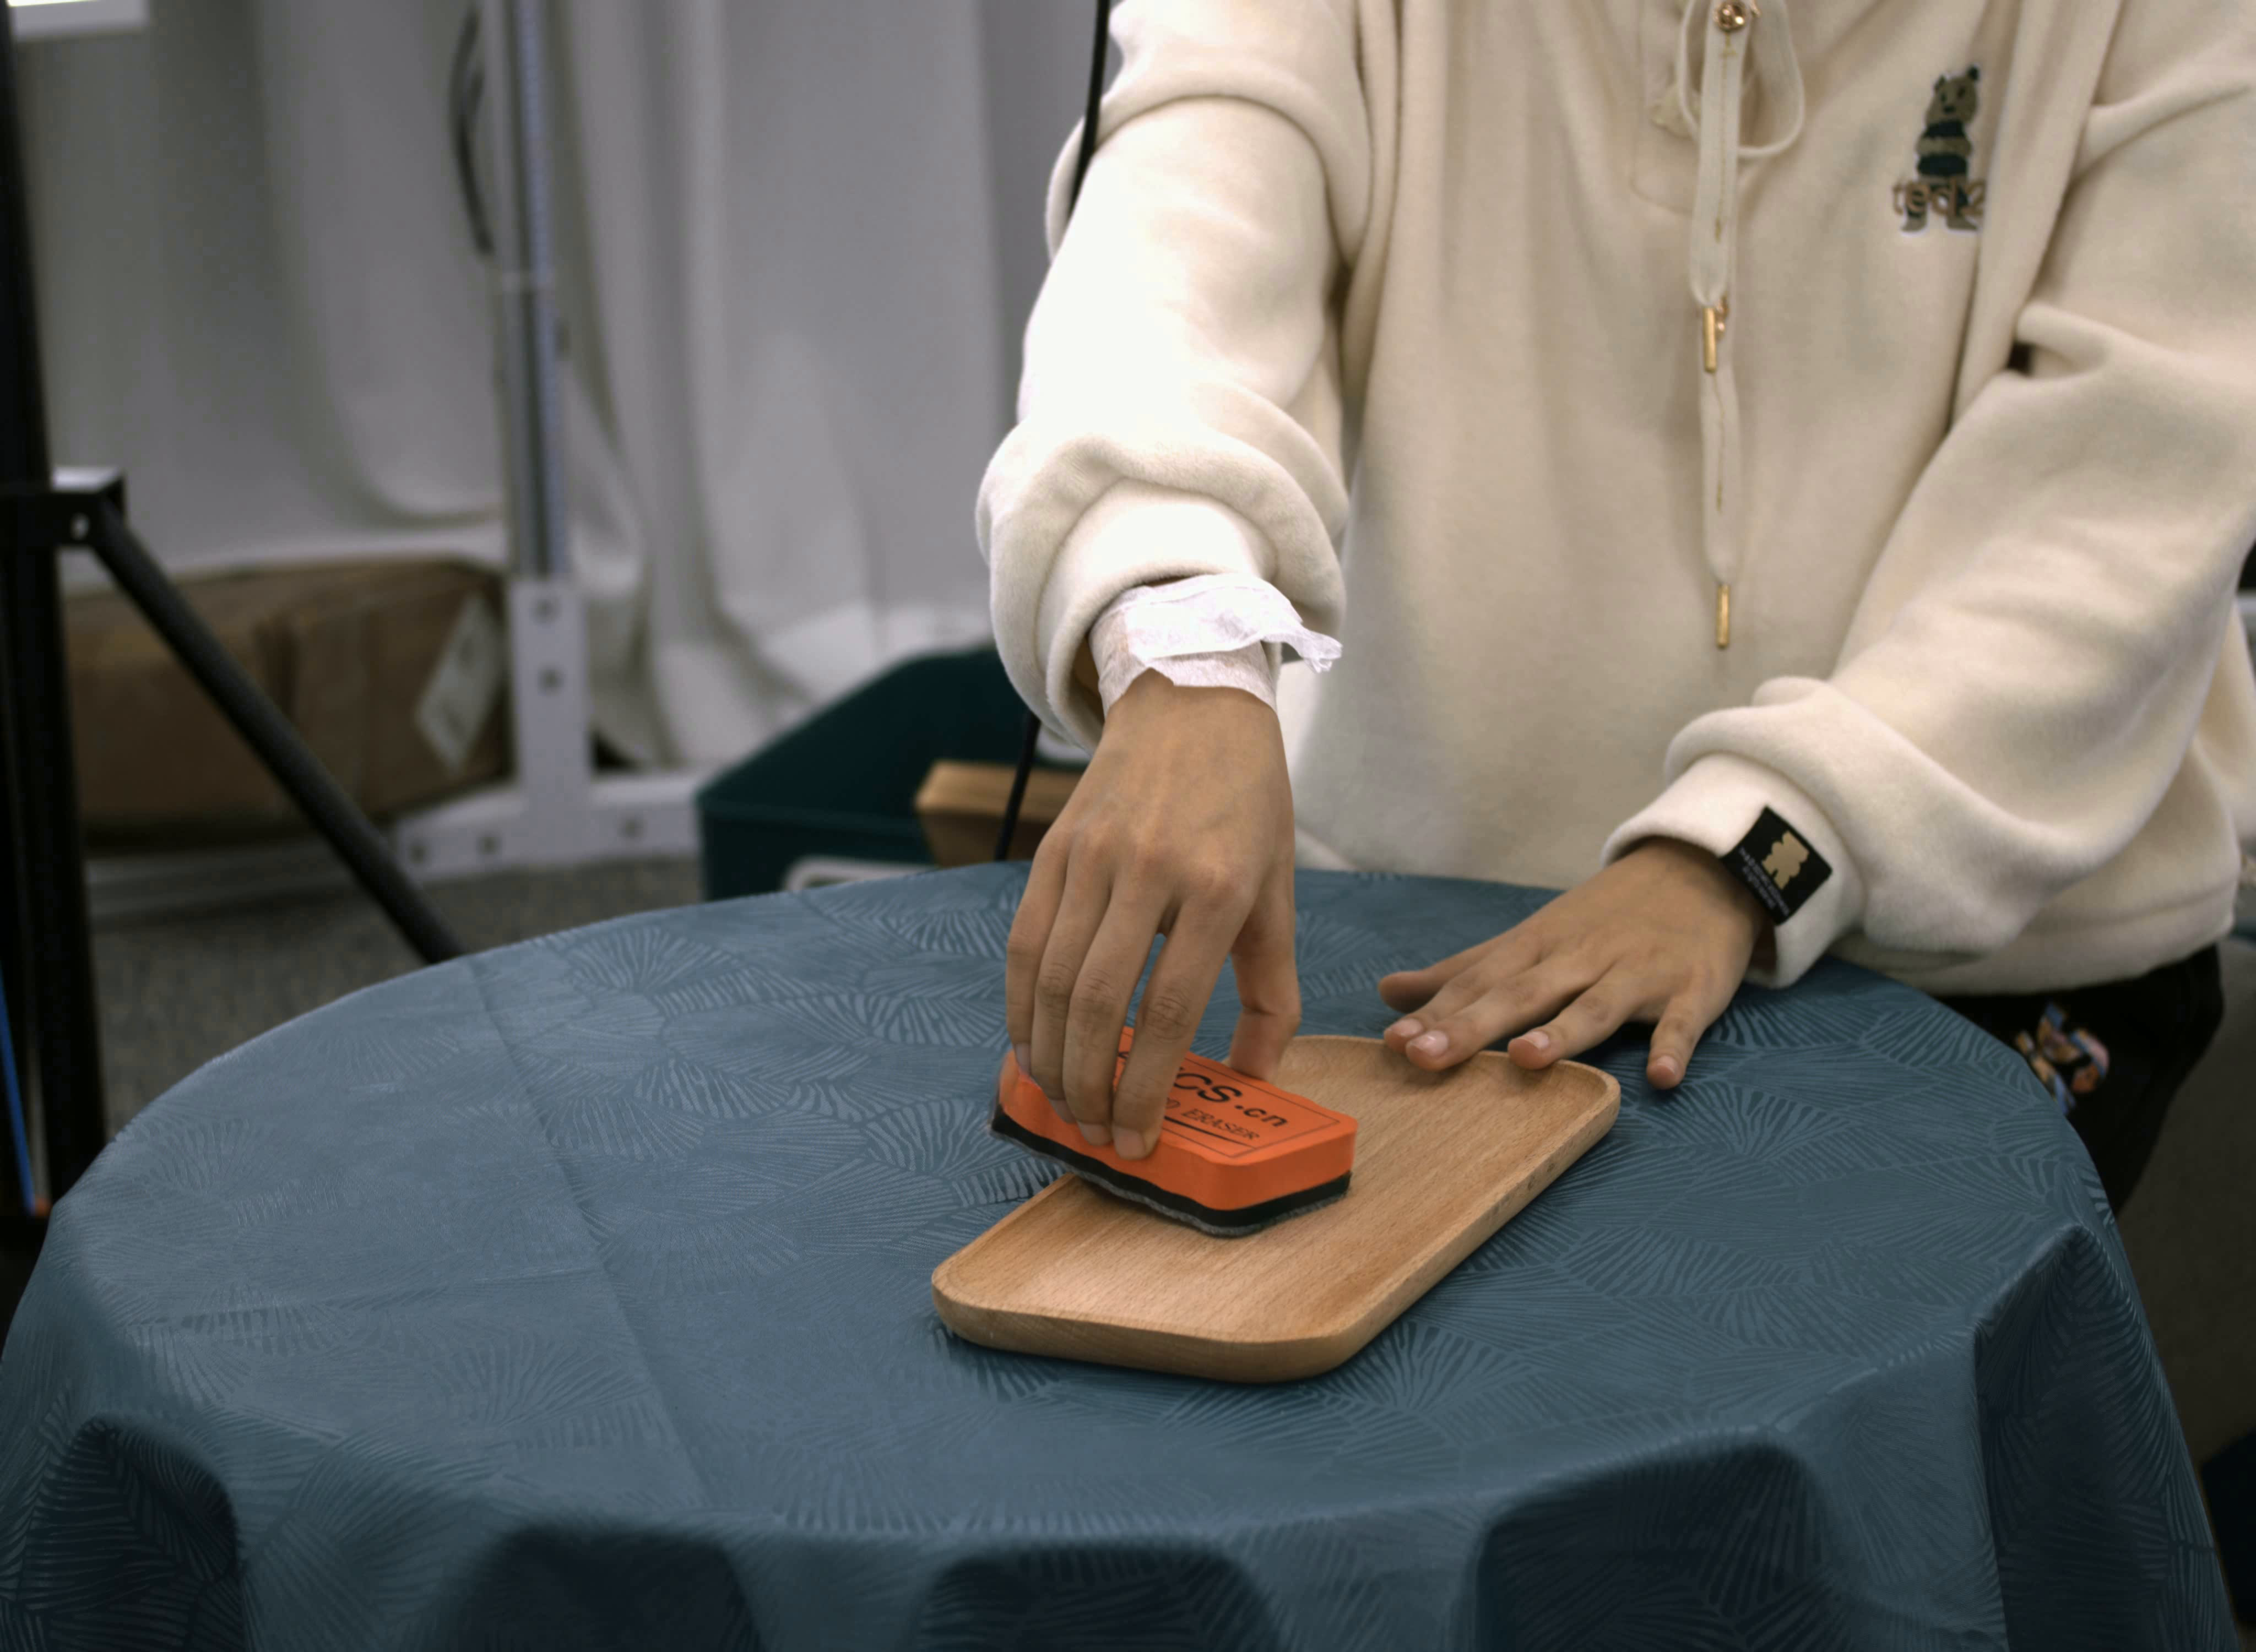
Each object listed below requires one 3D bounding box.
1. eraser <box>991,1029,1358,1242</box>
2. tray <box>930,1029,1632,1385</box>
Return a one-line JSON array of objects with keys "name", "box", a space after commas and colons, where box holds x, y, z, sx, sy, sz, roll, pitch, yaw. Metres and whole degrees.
[{"name": "eraser", "box": [0.013, 0.089, 1.537, 0.057, 0.023, 0.110, -14, 24, -39]}, {"name": "tray", "box": [0.048, 0.106, 1.521, 0.133, 0.023, 0.246, 8, 19, 26]}]
